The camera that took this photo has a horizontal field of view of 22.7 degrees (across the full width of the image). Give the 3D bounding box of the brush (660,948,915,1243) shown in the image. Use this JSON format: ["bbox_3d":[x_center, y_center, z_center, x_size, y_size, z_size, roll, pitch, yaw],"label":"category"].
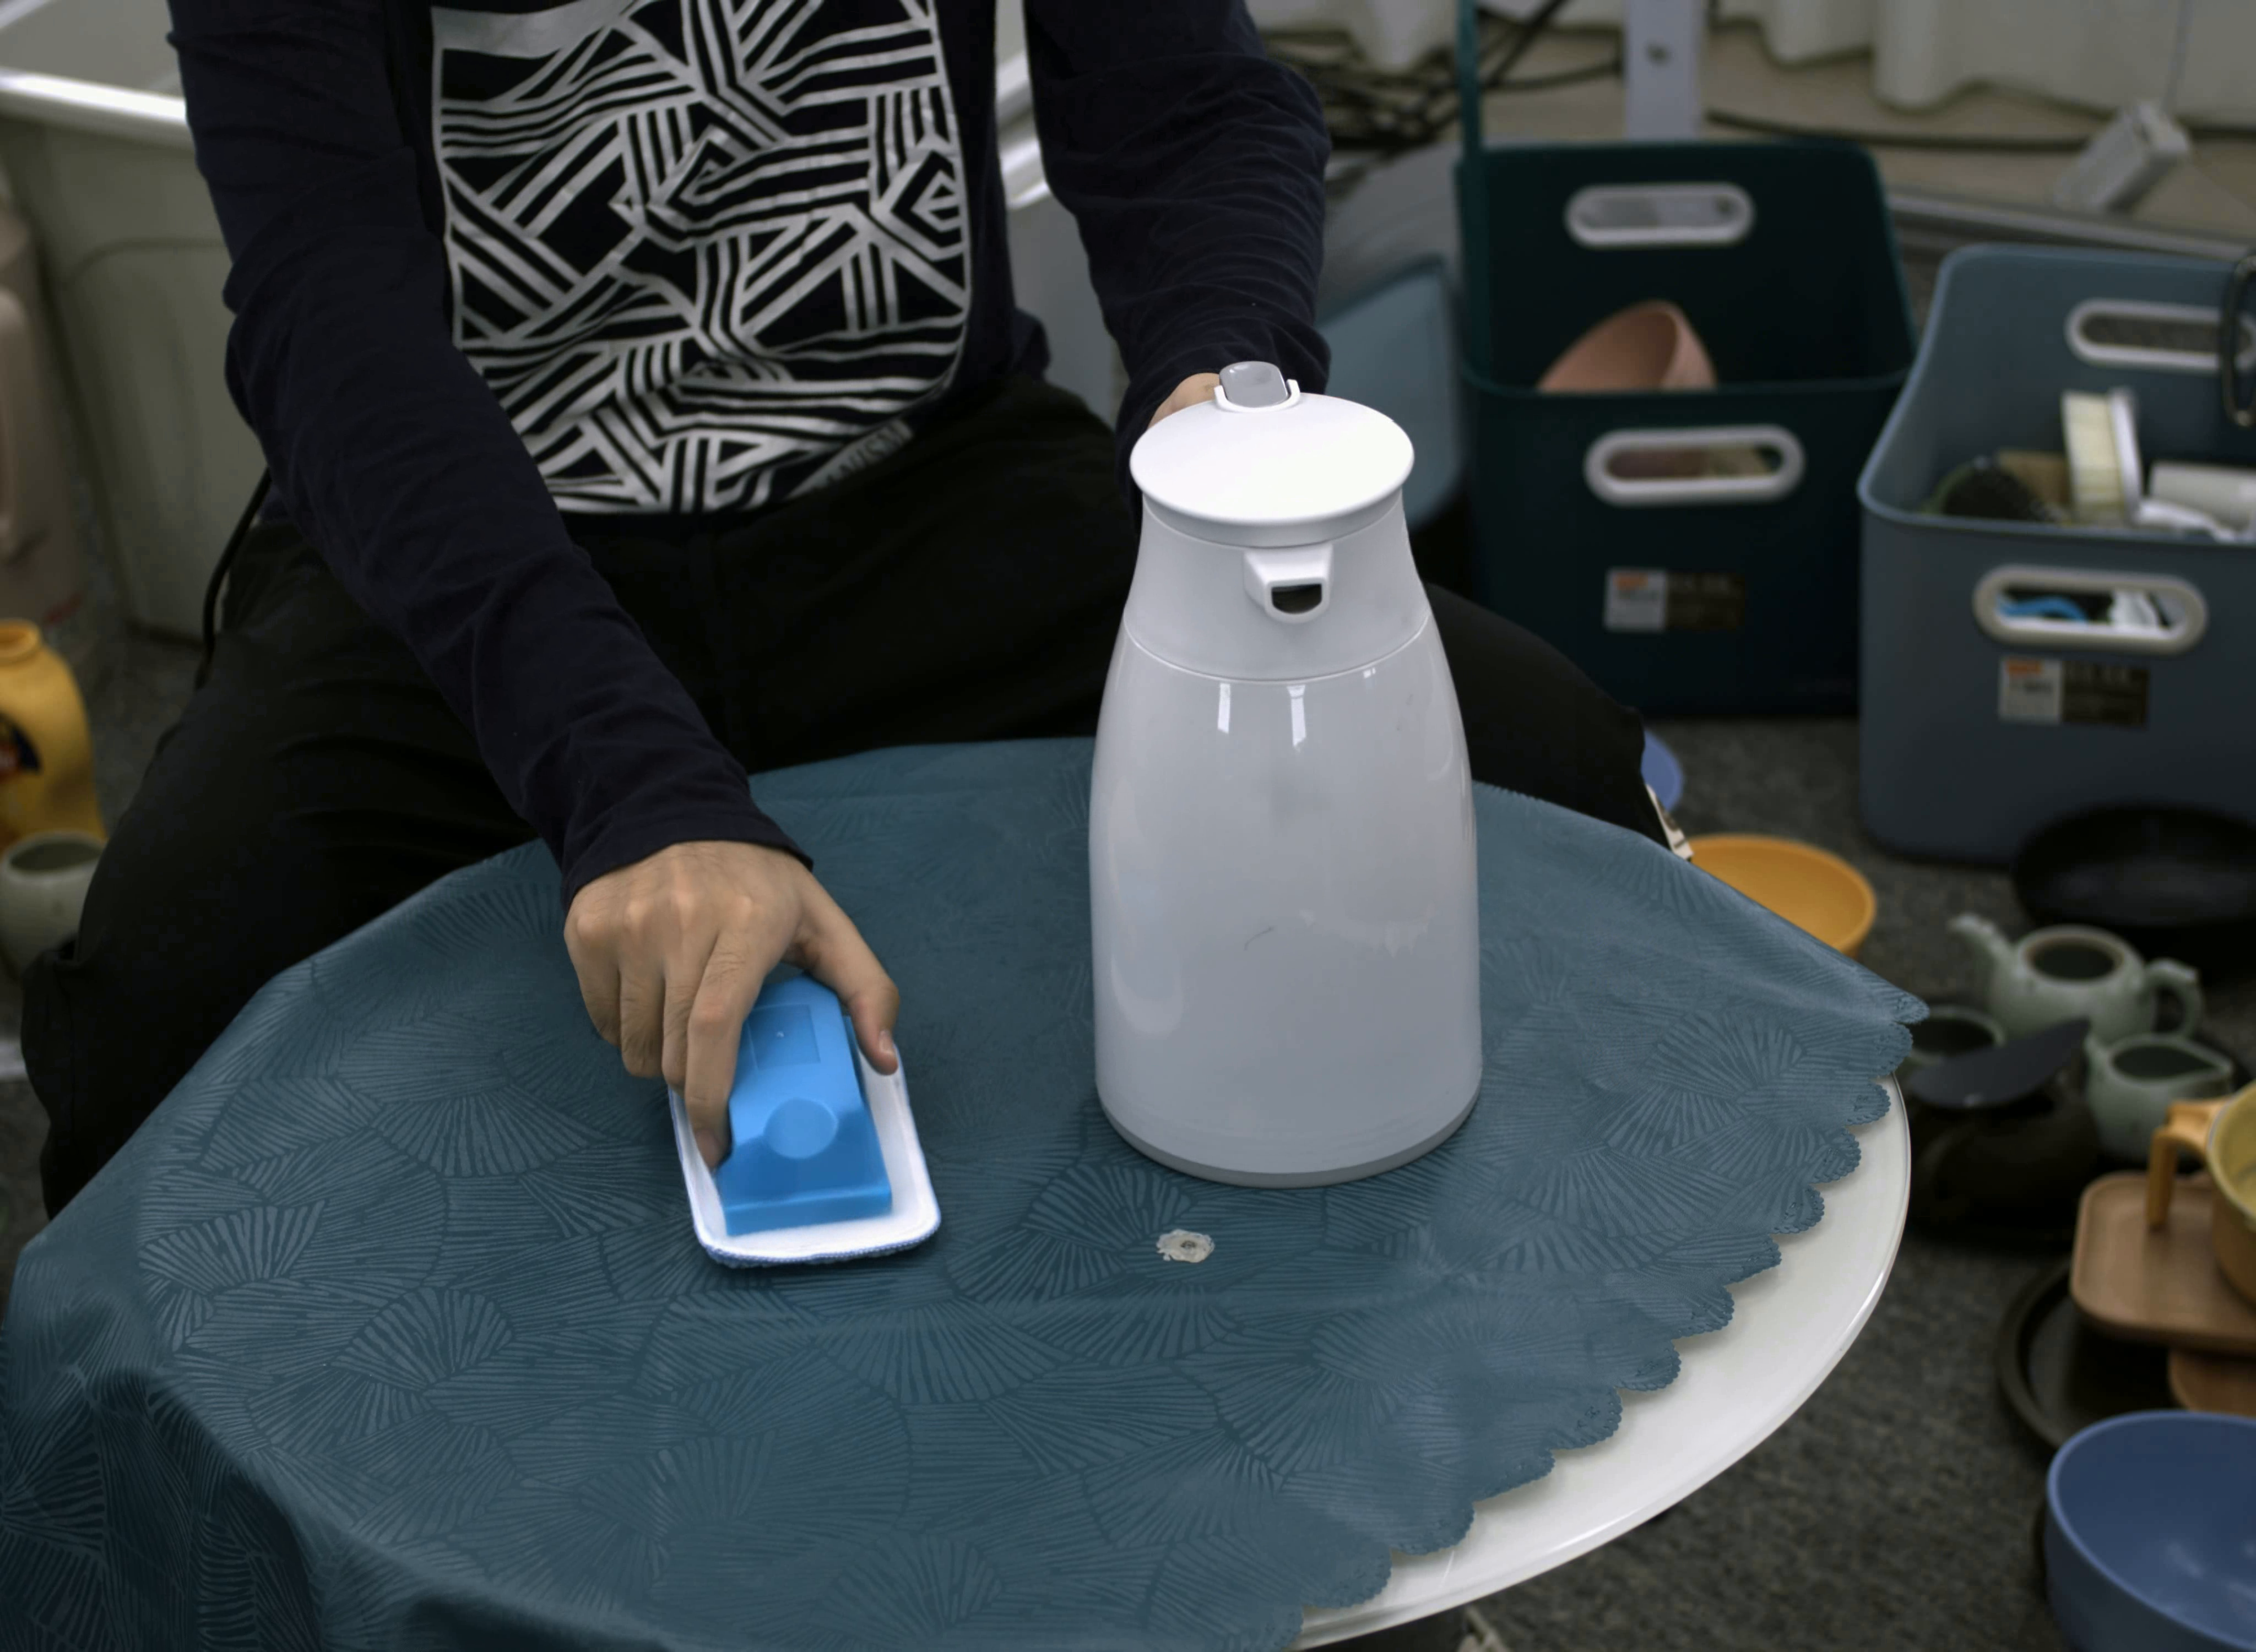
[{"bbox_3d":[-0.113,0.086,1.875,0.083,0.055,0.146,-2,28,-6],"label":"brush"}]

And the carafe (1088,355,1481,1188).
[{"bbox_3d":[0.046,-0.029,1.871,0.132,0.246,0.170,-6,28,-6],"label":"carafe"}]
